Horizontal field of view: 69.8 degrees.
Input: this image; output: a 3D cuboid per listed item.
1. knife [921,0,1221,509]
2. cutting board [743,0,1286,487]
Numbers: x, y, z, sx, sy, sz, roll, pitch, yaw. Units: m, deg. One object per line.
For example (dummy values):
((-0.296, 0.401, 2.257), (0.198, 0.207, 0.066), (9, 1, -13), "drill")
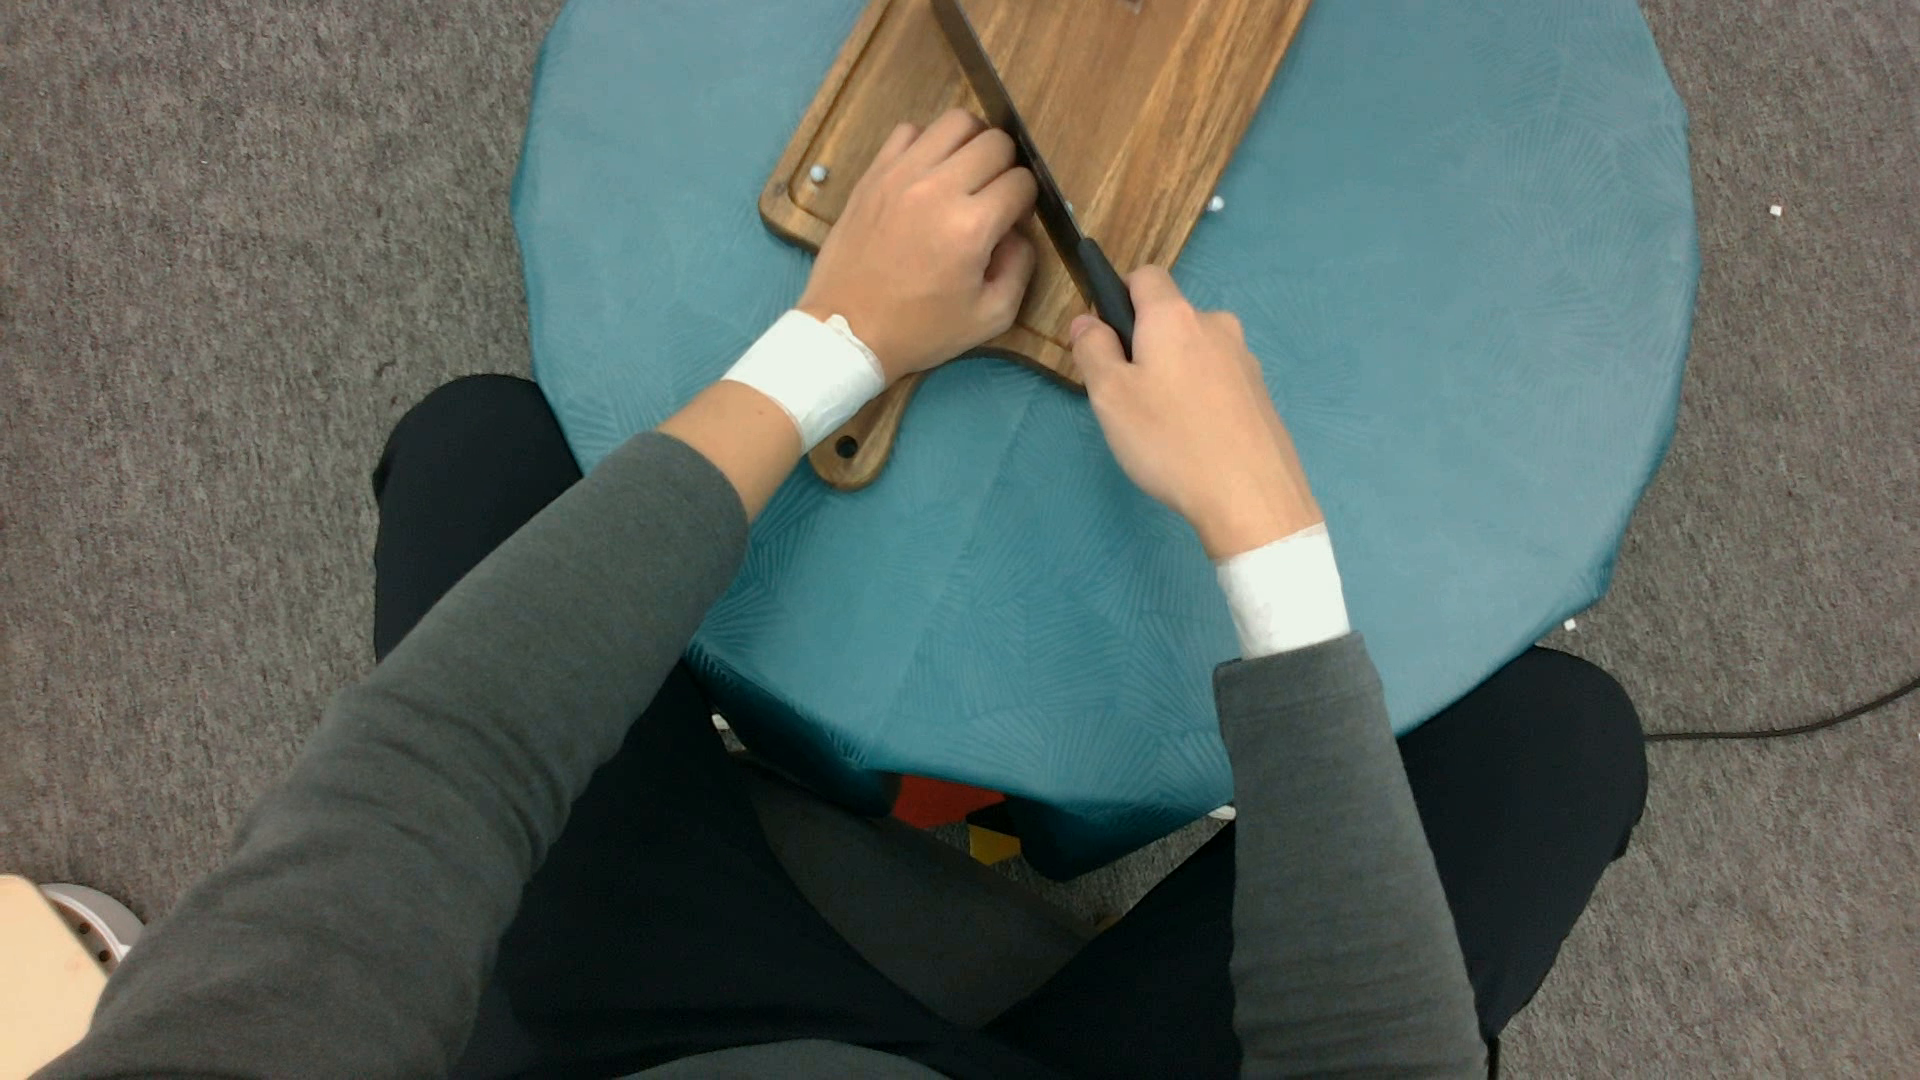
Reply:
((0.041, -0.148, 0.634), (0.021, 0.081, 0.303), (-26, 75, -1), "knife")
((0.010, -0.185, 0.690), (0.201, 0.023, 0.352), (27, 83, 2), "cutting board")
